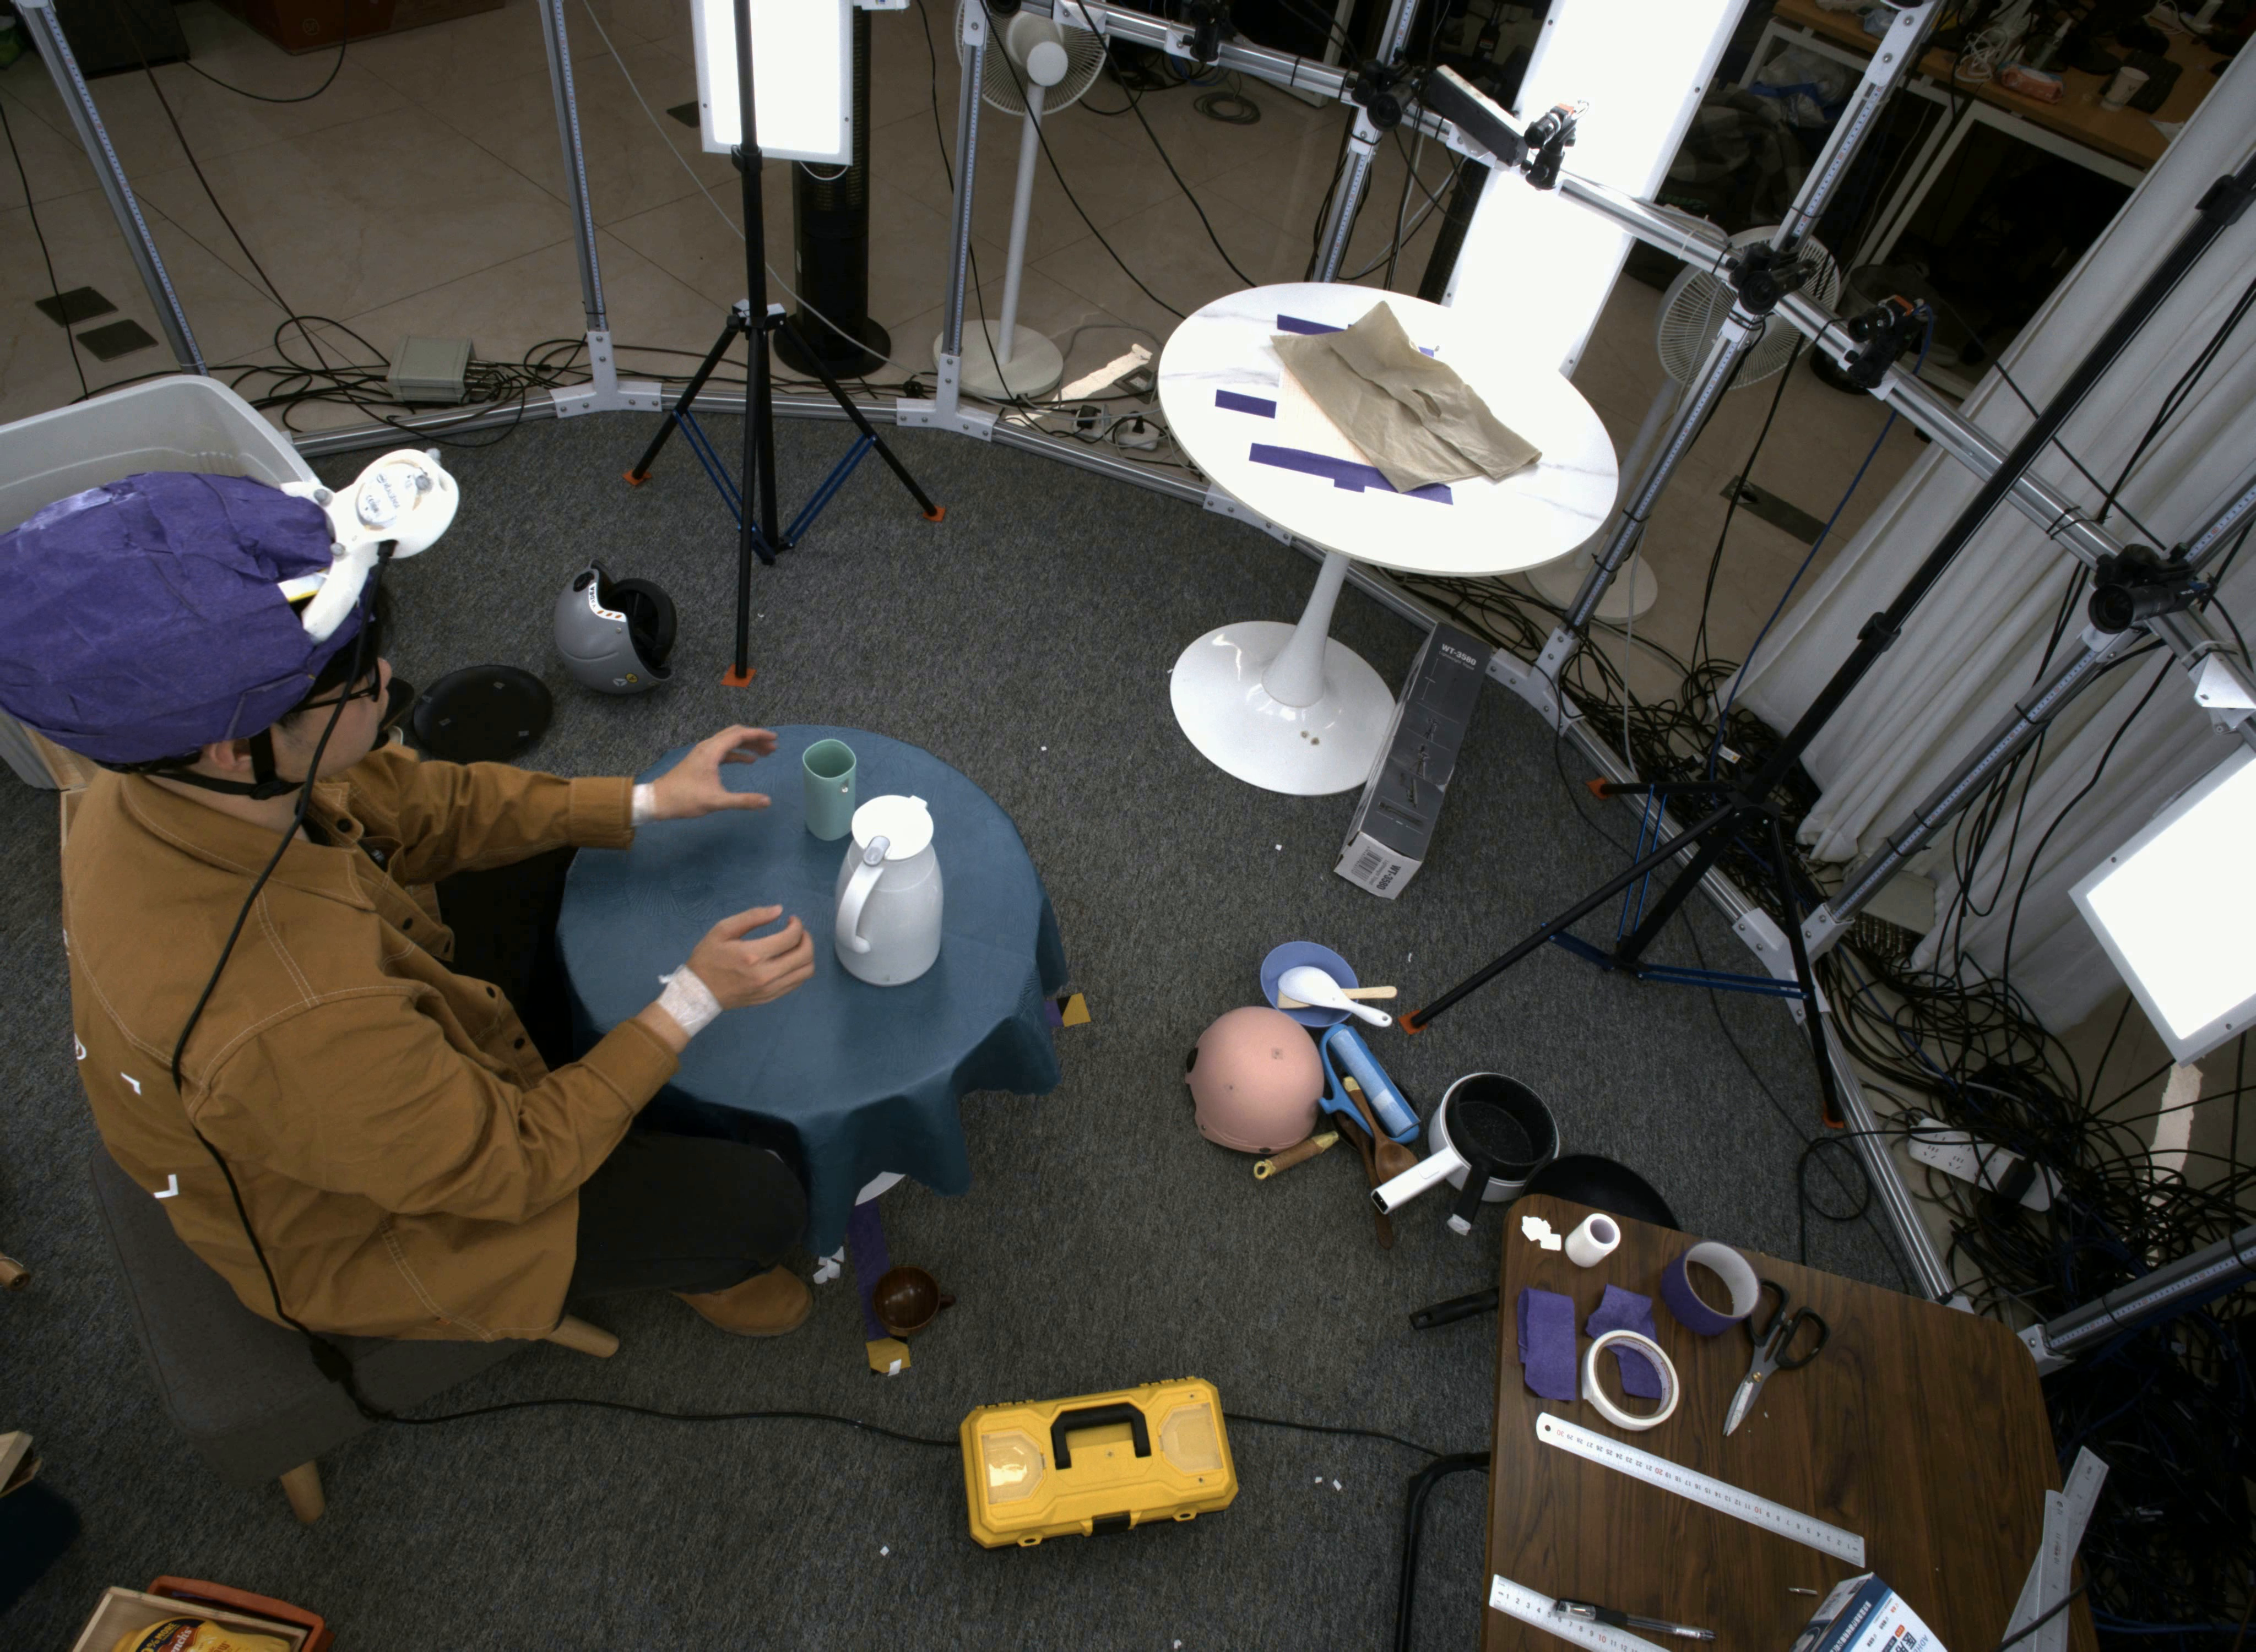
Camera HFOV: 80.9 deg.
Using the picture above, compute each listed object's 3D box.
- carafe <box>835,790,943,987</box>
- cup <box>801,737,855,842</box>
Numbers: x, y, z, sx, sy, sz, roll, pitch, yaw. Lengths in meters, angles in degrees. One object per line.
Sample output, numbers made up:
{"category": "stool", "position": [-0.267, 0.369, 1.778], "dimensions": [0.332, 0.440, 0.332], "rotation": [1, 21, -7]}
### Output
{"category": "carafe", "position": [-0.290, 0.081, 1.535], "dimensions": [0.130, 0.254, 0.166], "rotation": [23, 52, 7]}
{"category": "cup", "position": [-0.389, -0.046, 1.685], "dimensions": [0.066, 0.135, 0.065], "rotation": [6, 51, -6]}
